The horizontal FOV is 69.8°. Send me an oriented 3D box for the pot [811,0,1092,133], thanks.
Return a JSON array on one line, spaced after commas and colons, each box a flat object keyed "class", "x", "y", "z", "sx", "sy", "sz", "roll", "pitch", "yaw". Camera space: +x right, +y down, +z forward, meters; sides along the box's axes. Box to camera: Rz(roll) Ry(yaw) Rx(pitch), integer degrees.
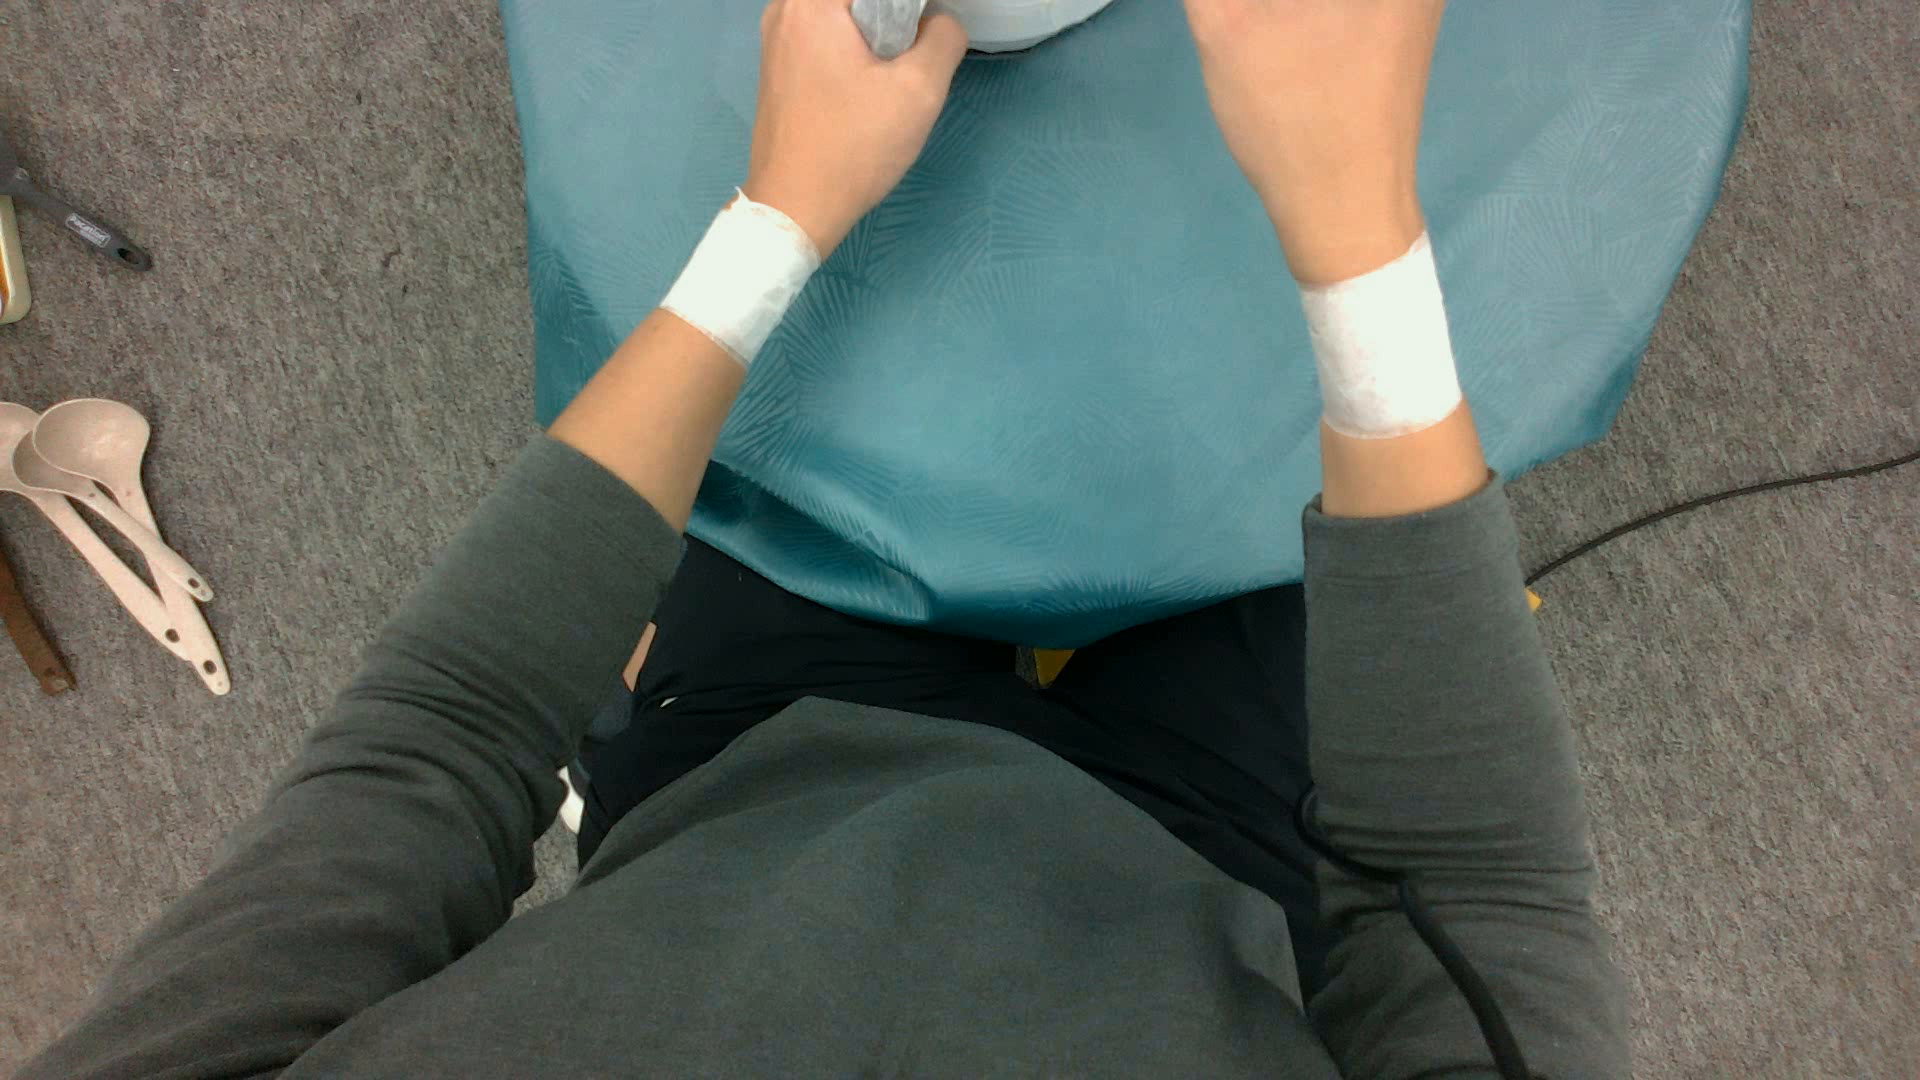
[{"class": "pot", "x": 0.000, "y": -0.292, "z": 0.591, "sx": 0.179, "sy": 0.136, "sz": 0.233, "roll": 24, "pitch": 90, "yaw": -6}]
